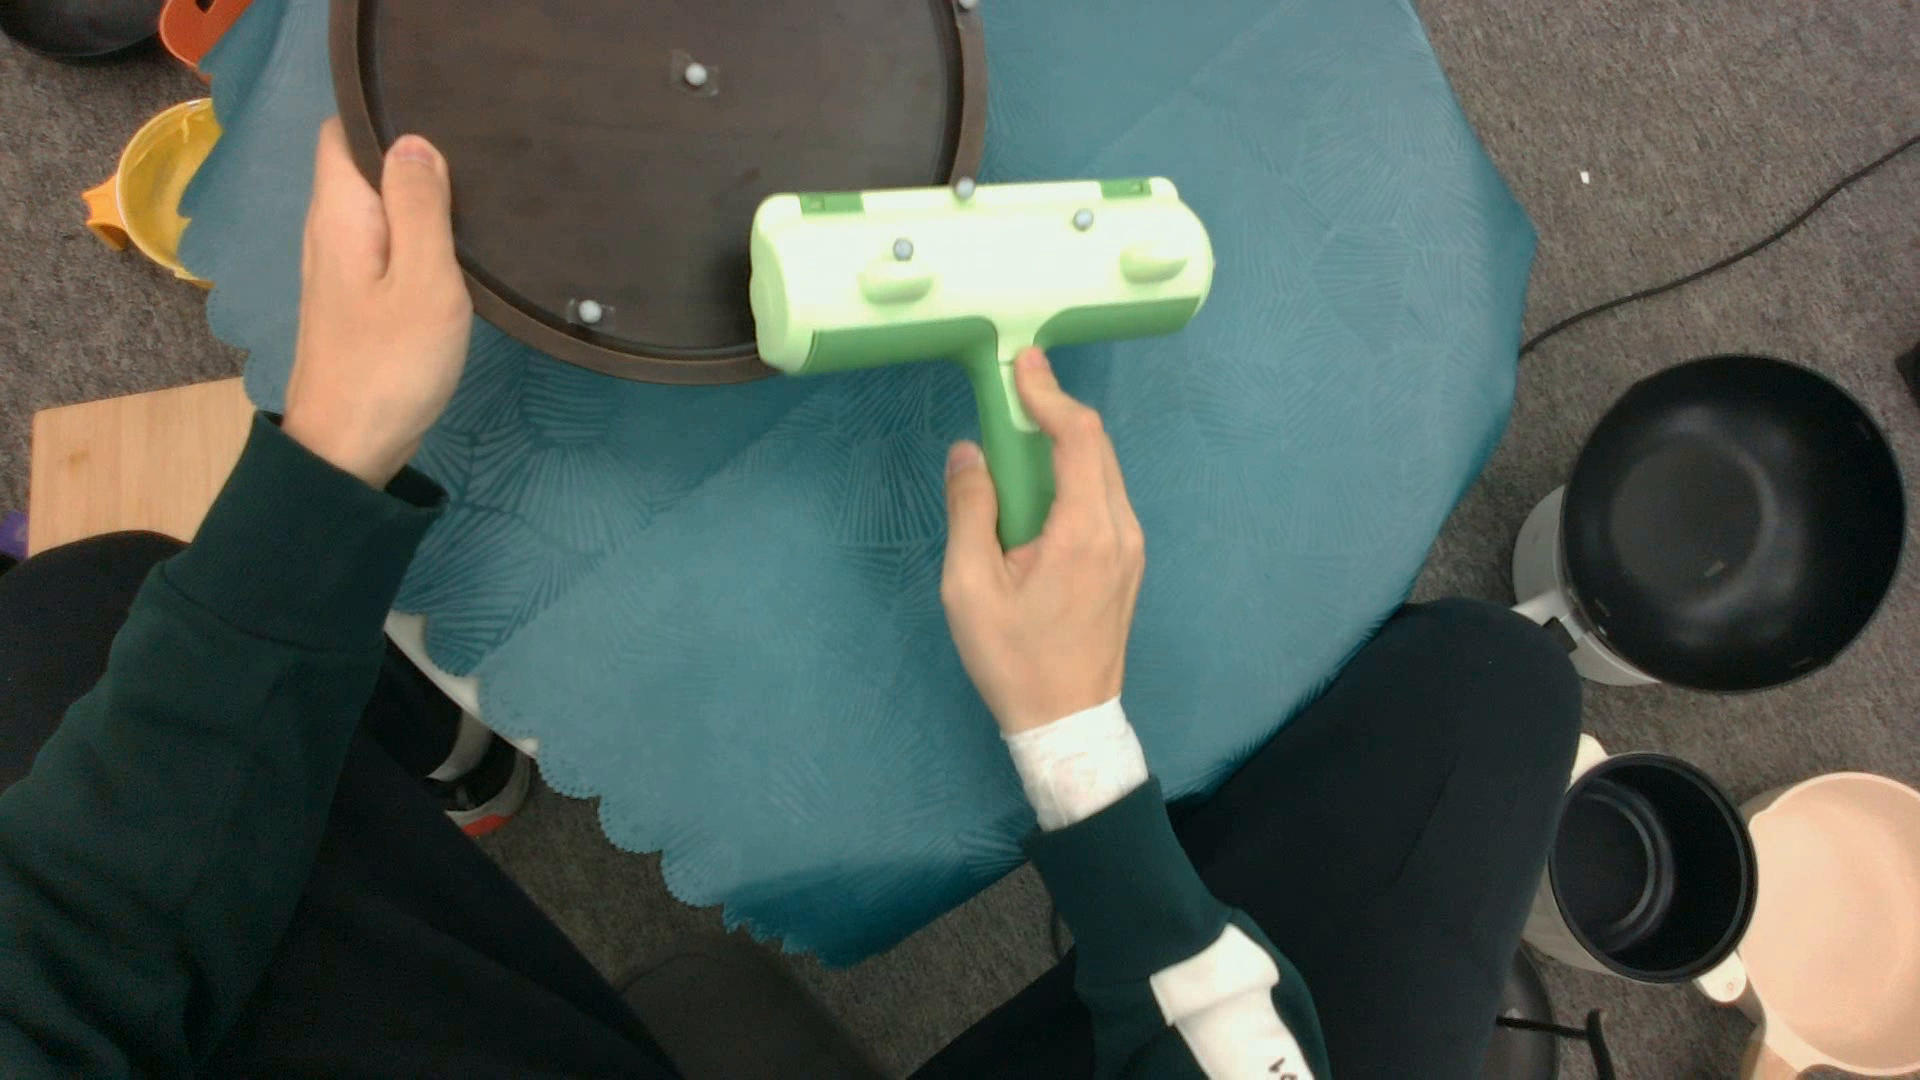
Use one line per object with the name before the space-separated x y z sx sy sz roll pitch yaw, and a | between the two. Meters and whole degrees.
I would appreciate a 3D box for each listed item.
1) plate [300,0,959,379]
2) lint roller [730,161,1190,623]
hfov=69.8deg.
plate | -0.122 -0.190 0.547 0.255 0.029 0.254 0 91 -20
lint roller | 0.022 -0.061 0.547 0.199 0.082 0.183 -11 82 -29
